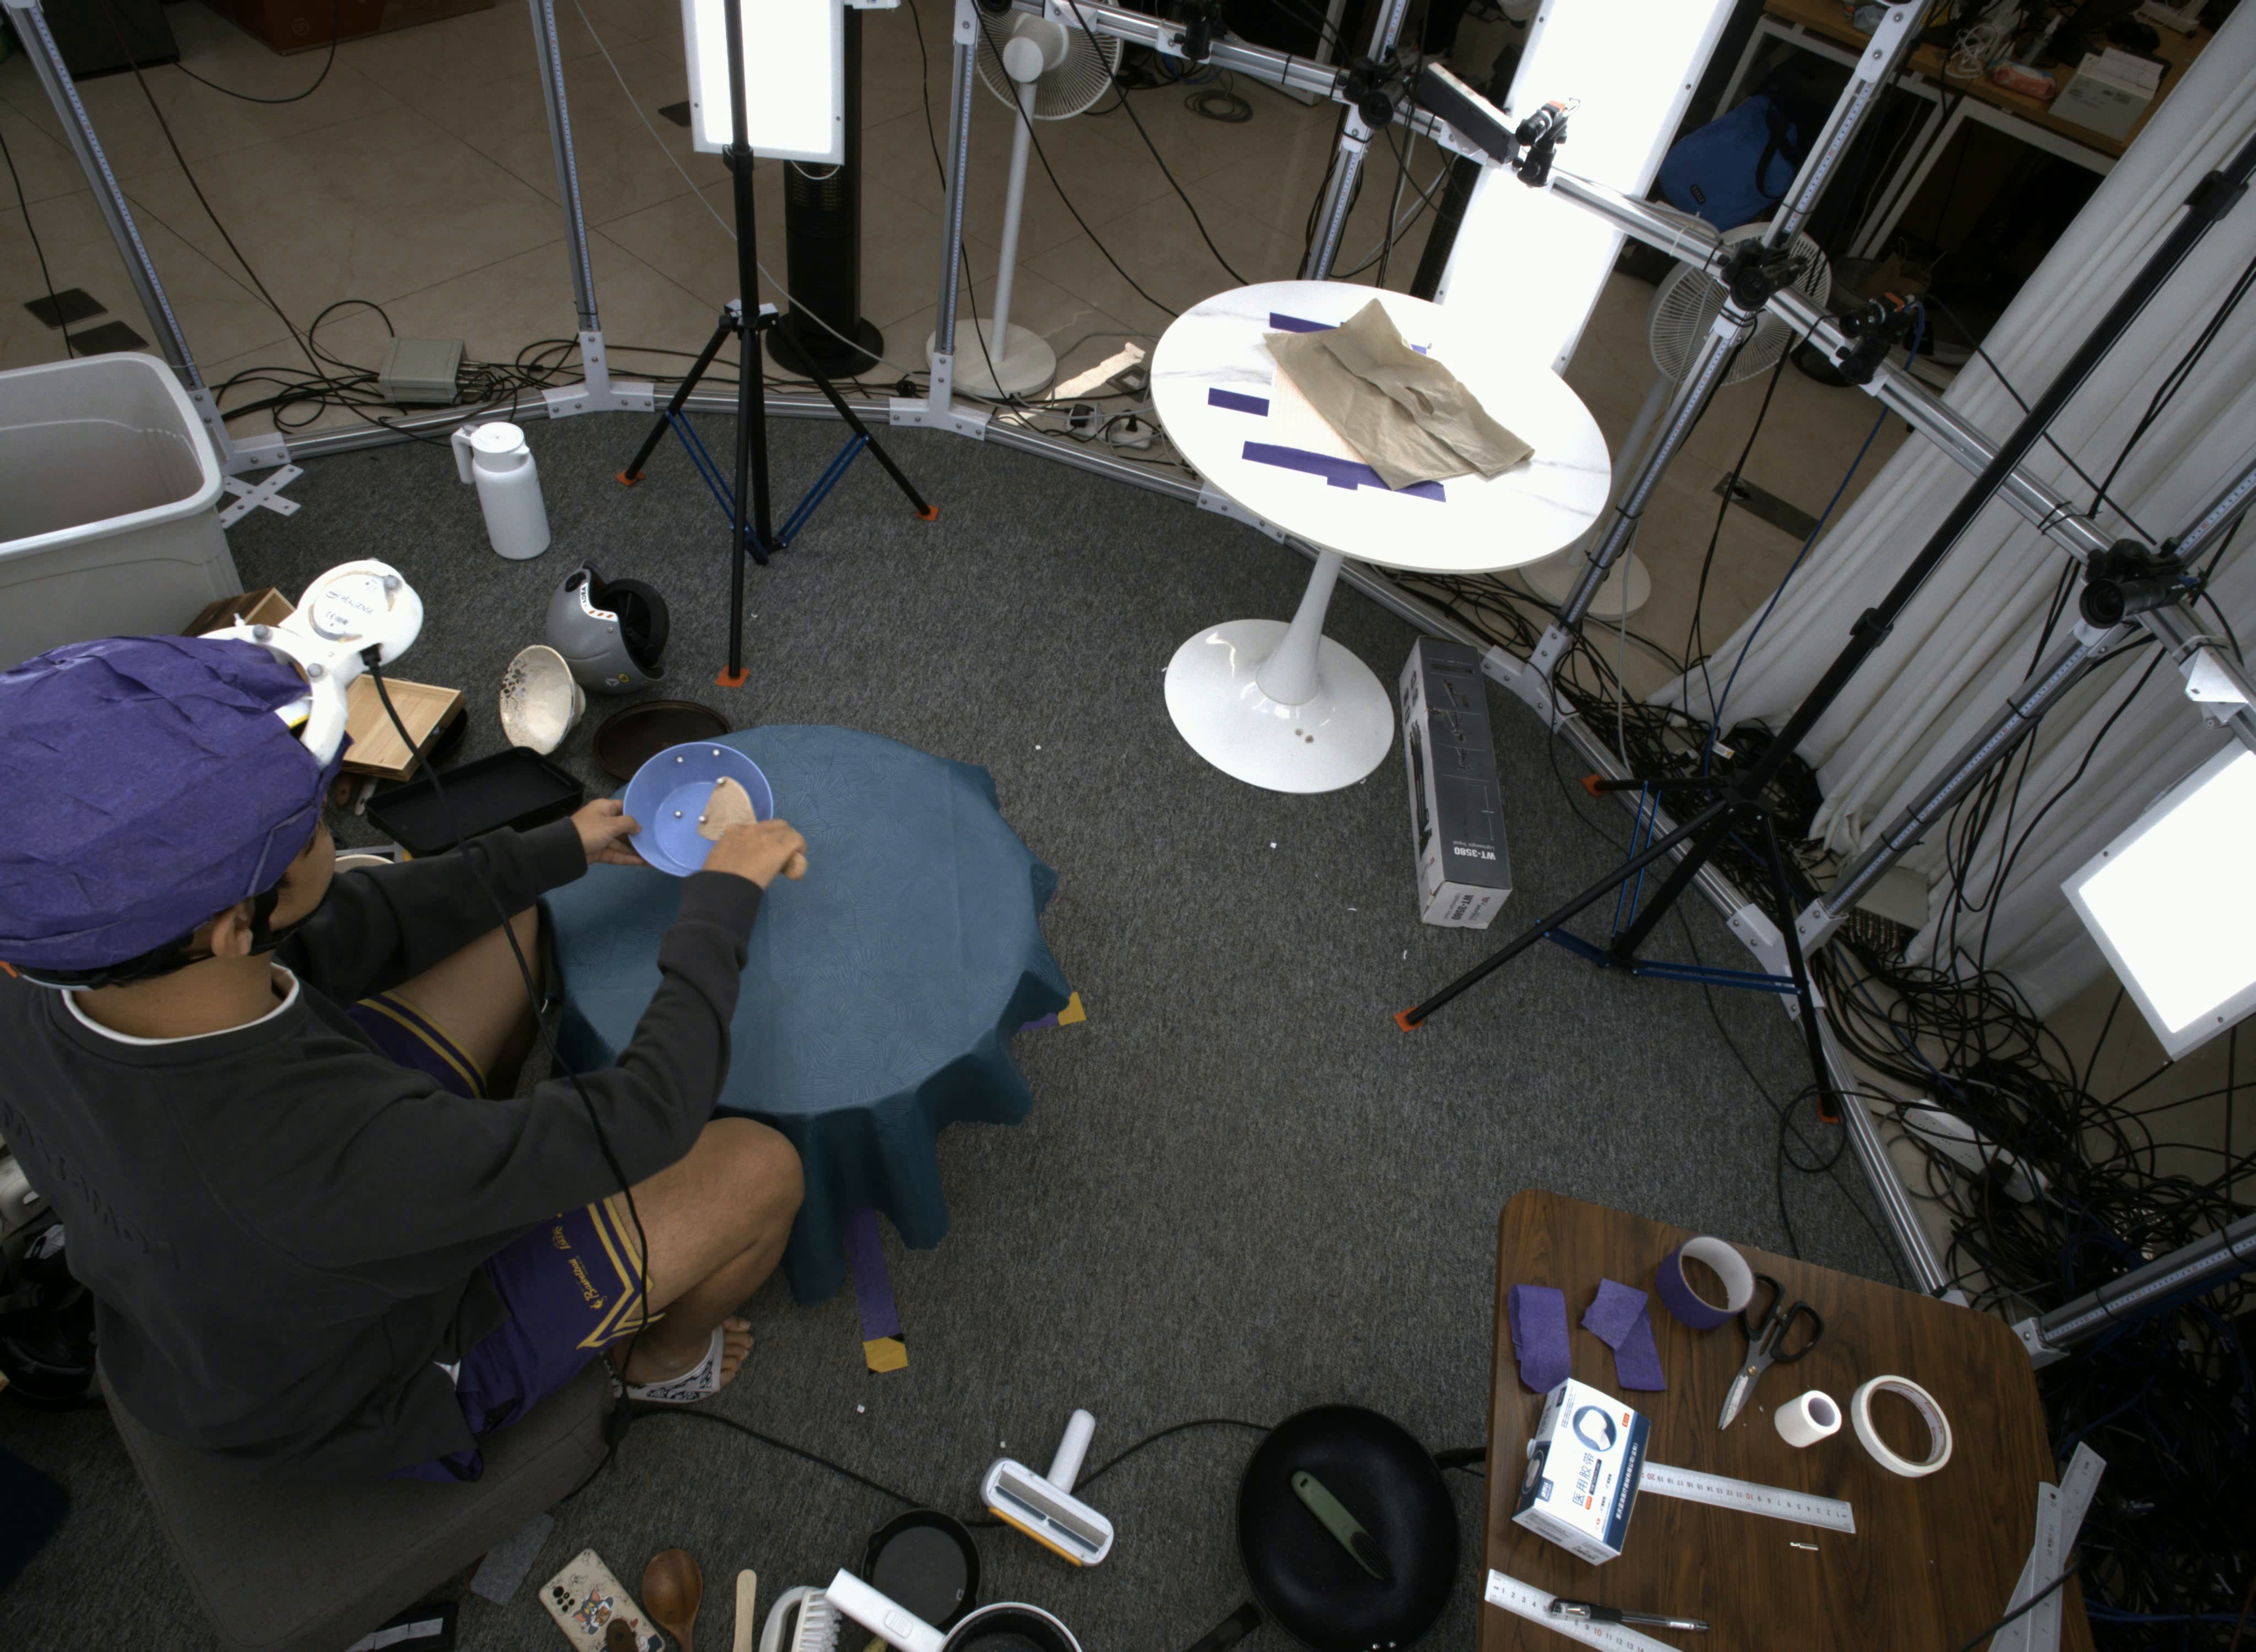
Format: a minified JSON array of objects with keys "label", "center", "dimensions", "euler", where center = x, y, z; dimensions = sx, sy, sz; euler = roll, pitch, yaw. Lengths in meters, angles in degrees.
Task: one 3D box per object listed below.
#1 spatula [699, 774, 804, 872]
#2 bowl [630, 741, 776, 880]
[{"label":"spatula","center":[-0.424,0.003,1.451],"dimensions":[0.017,0.316,0.080],"euler":[30,85,-35]},{"label":"bowl","center":[-0.520,-0.011,1.587],"dimensions":[0.176,0.070,0.175],"euler":[5,72,-13]}]
